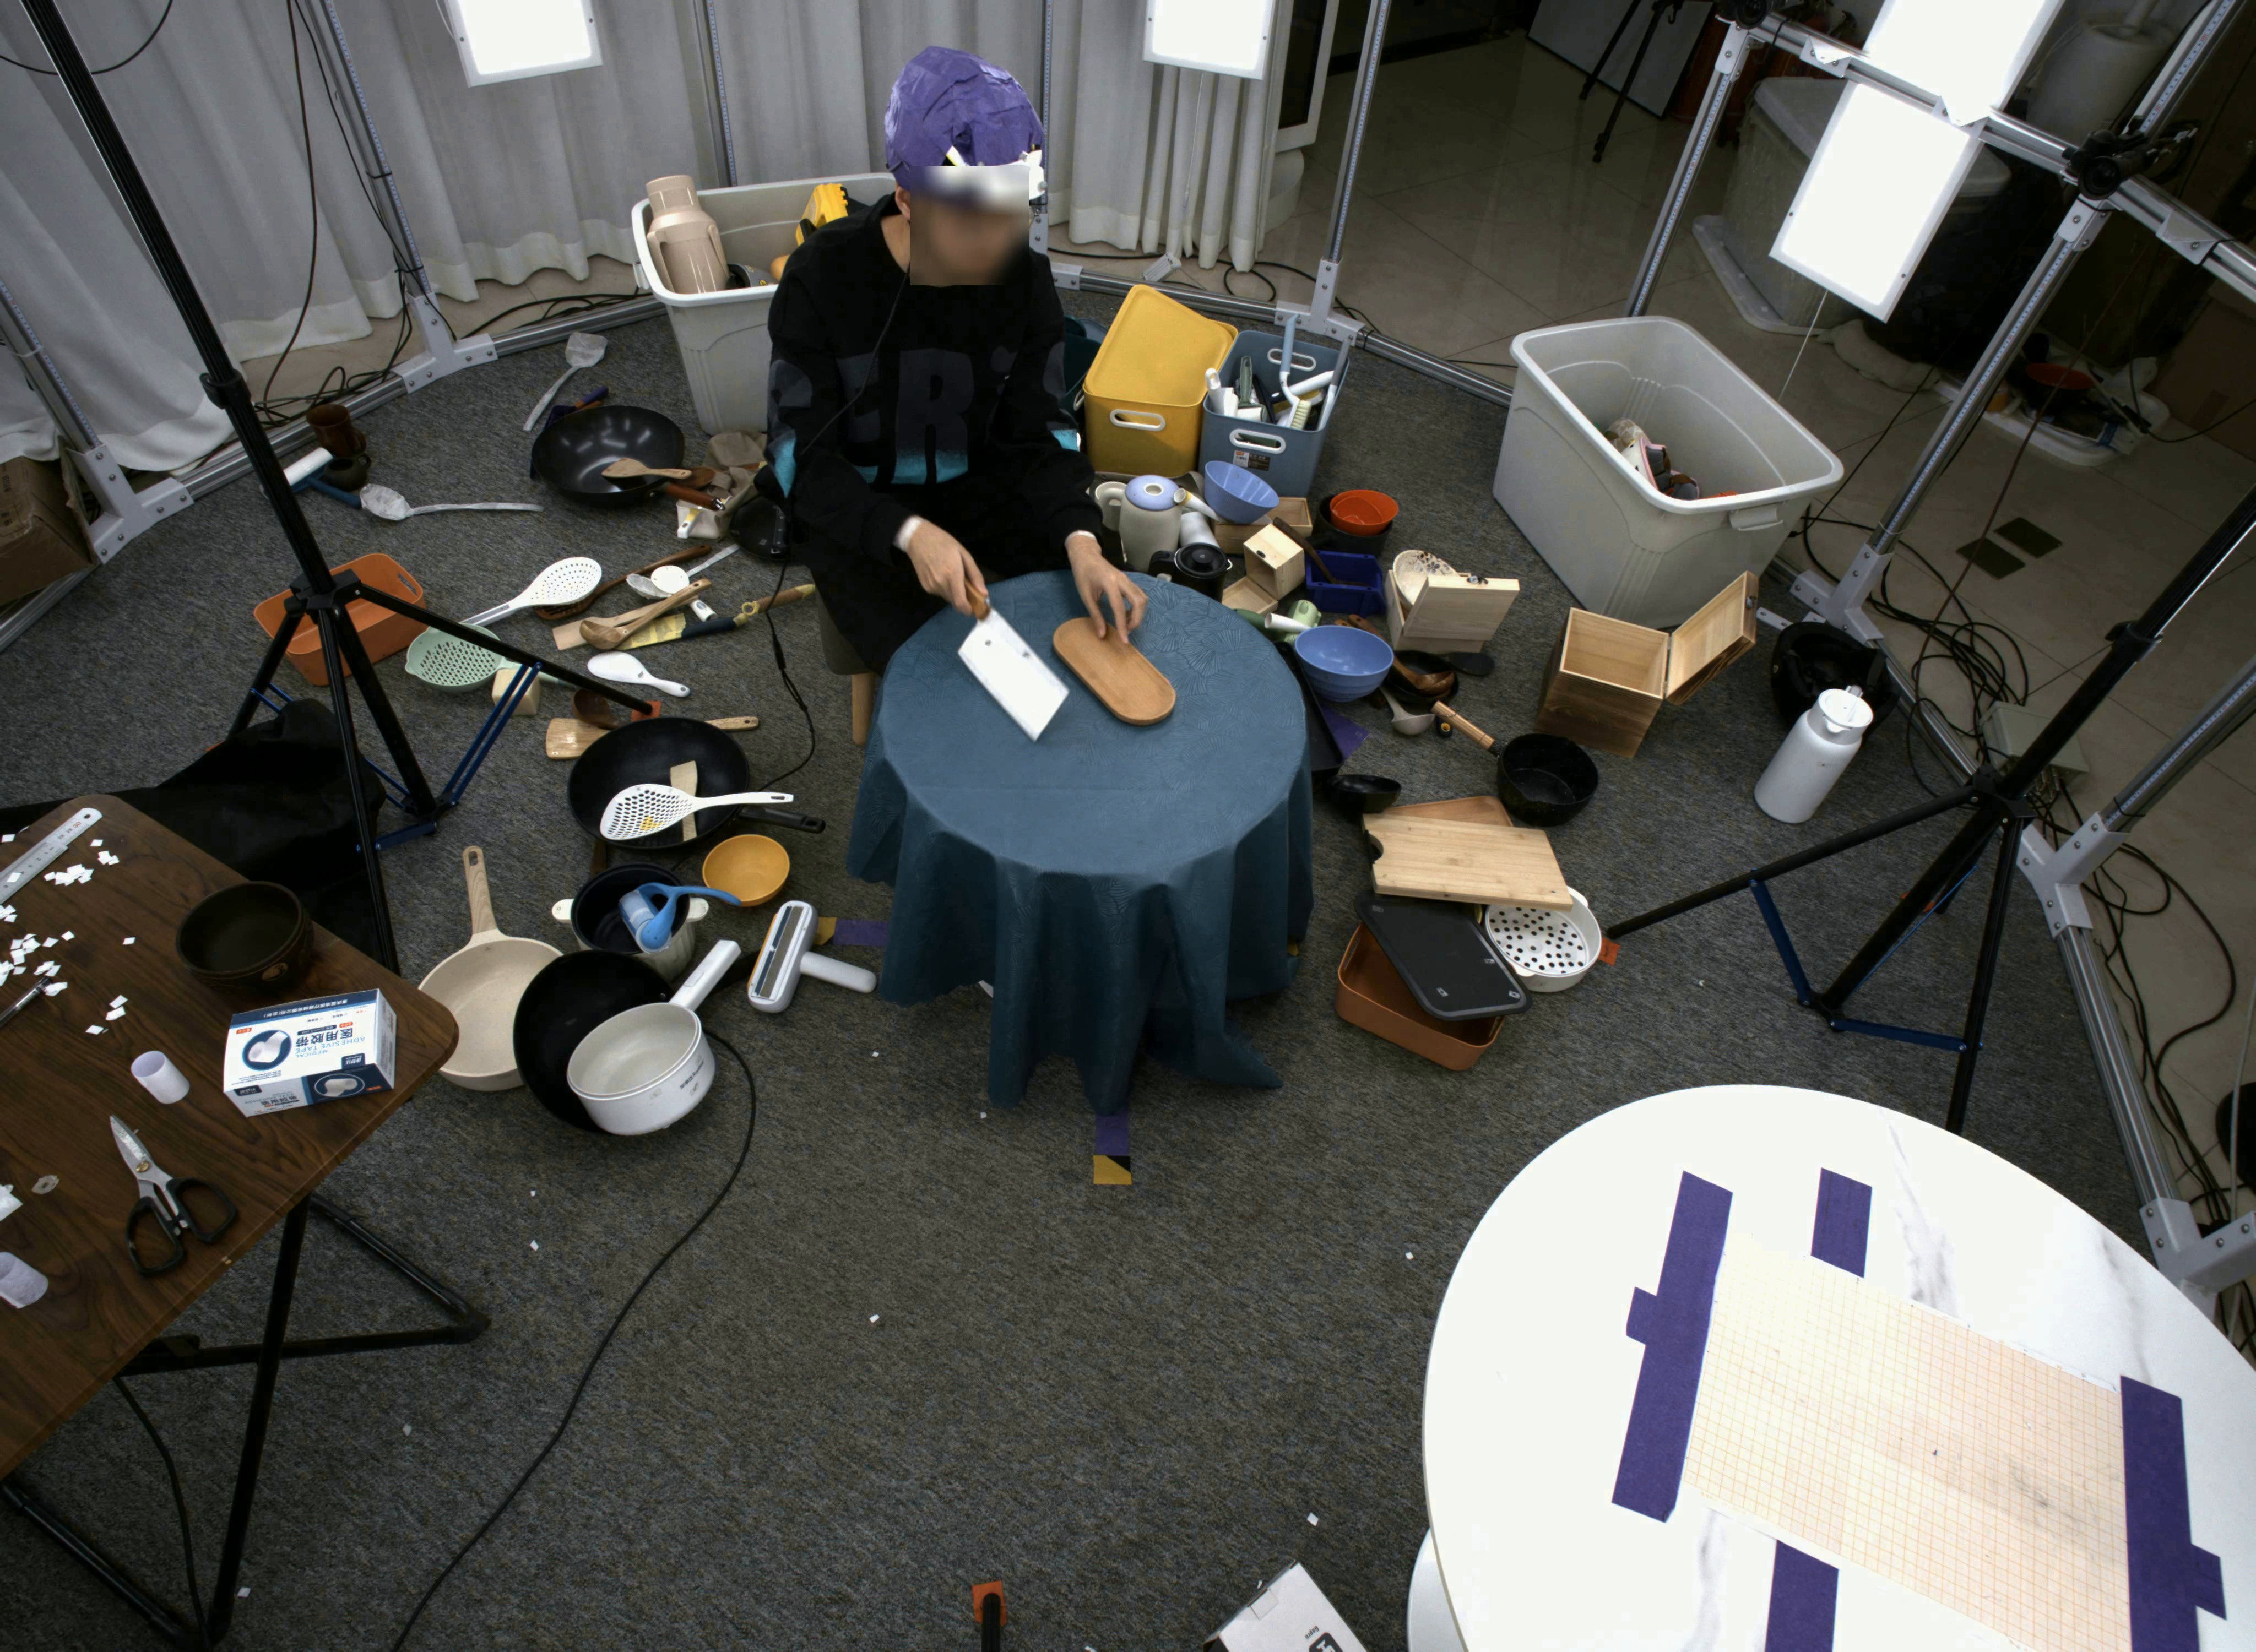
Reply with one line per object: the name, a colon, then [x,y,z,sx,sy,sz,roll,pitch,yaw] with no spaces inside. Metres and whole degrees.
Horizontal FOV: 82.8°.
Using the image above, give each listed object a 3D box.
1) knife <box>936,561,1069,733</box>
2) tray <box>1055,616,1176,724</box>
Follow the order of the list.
knife: [-0.190,-0.248,1.803,0.021,0.092,0.311,1,42,-54]
tray: [-0.019,-0.227,1.853,0.102,0.020,0.236,-25,54,-24]
